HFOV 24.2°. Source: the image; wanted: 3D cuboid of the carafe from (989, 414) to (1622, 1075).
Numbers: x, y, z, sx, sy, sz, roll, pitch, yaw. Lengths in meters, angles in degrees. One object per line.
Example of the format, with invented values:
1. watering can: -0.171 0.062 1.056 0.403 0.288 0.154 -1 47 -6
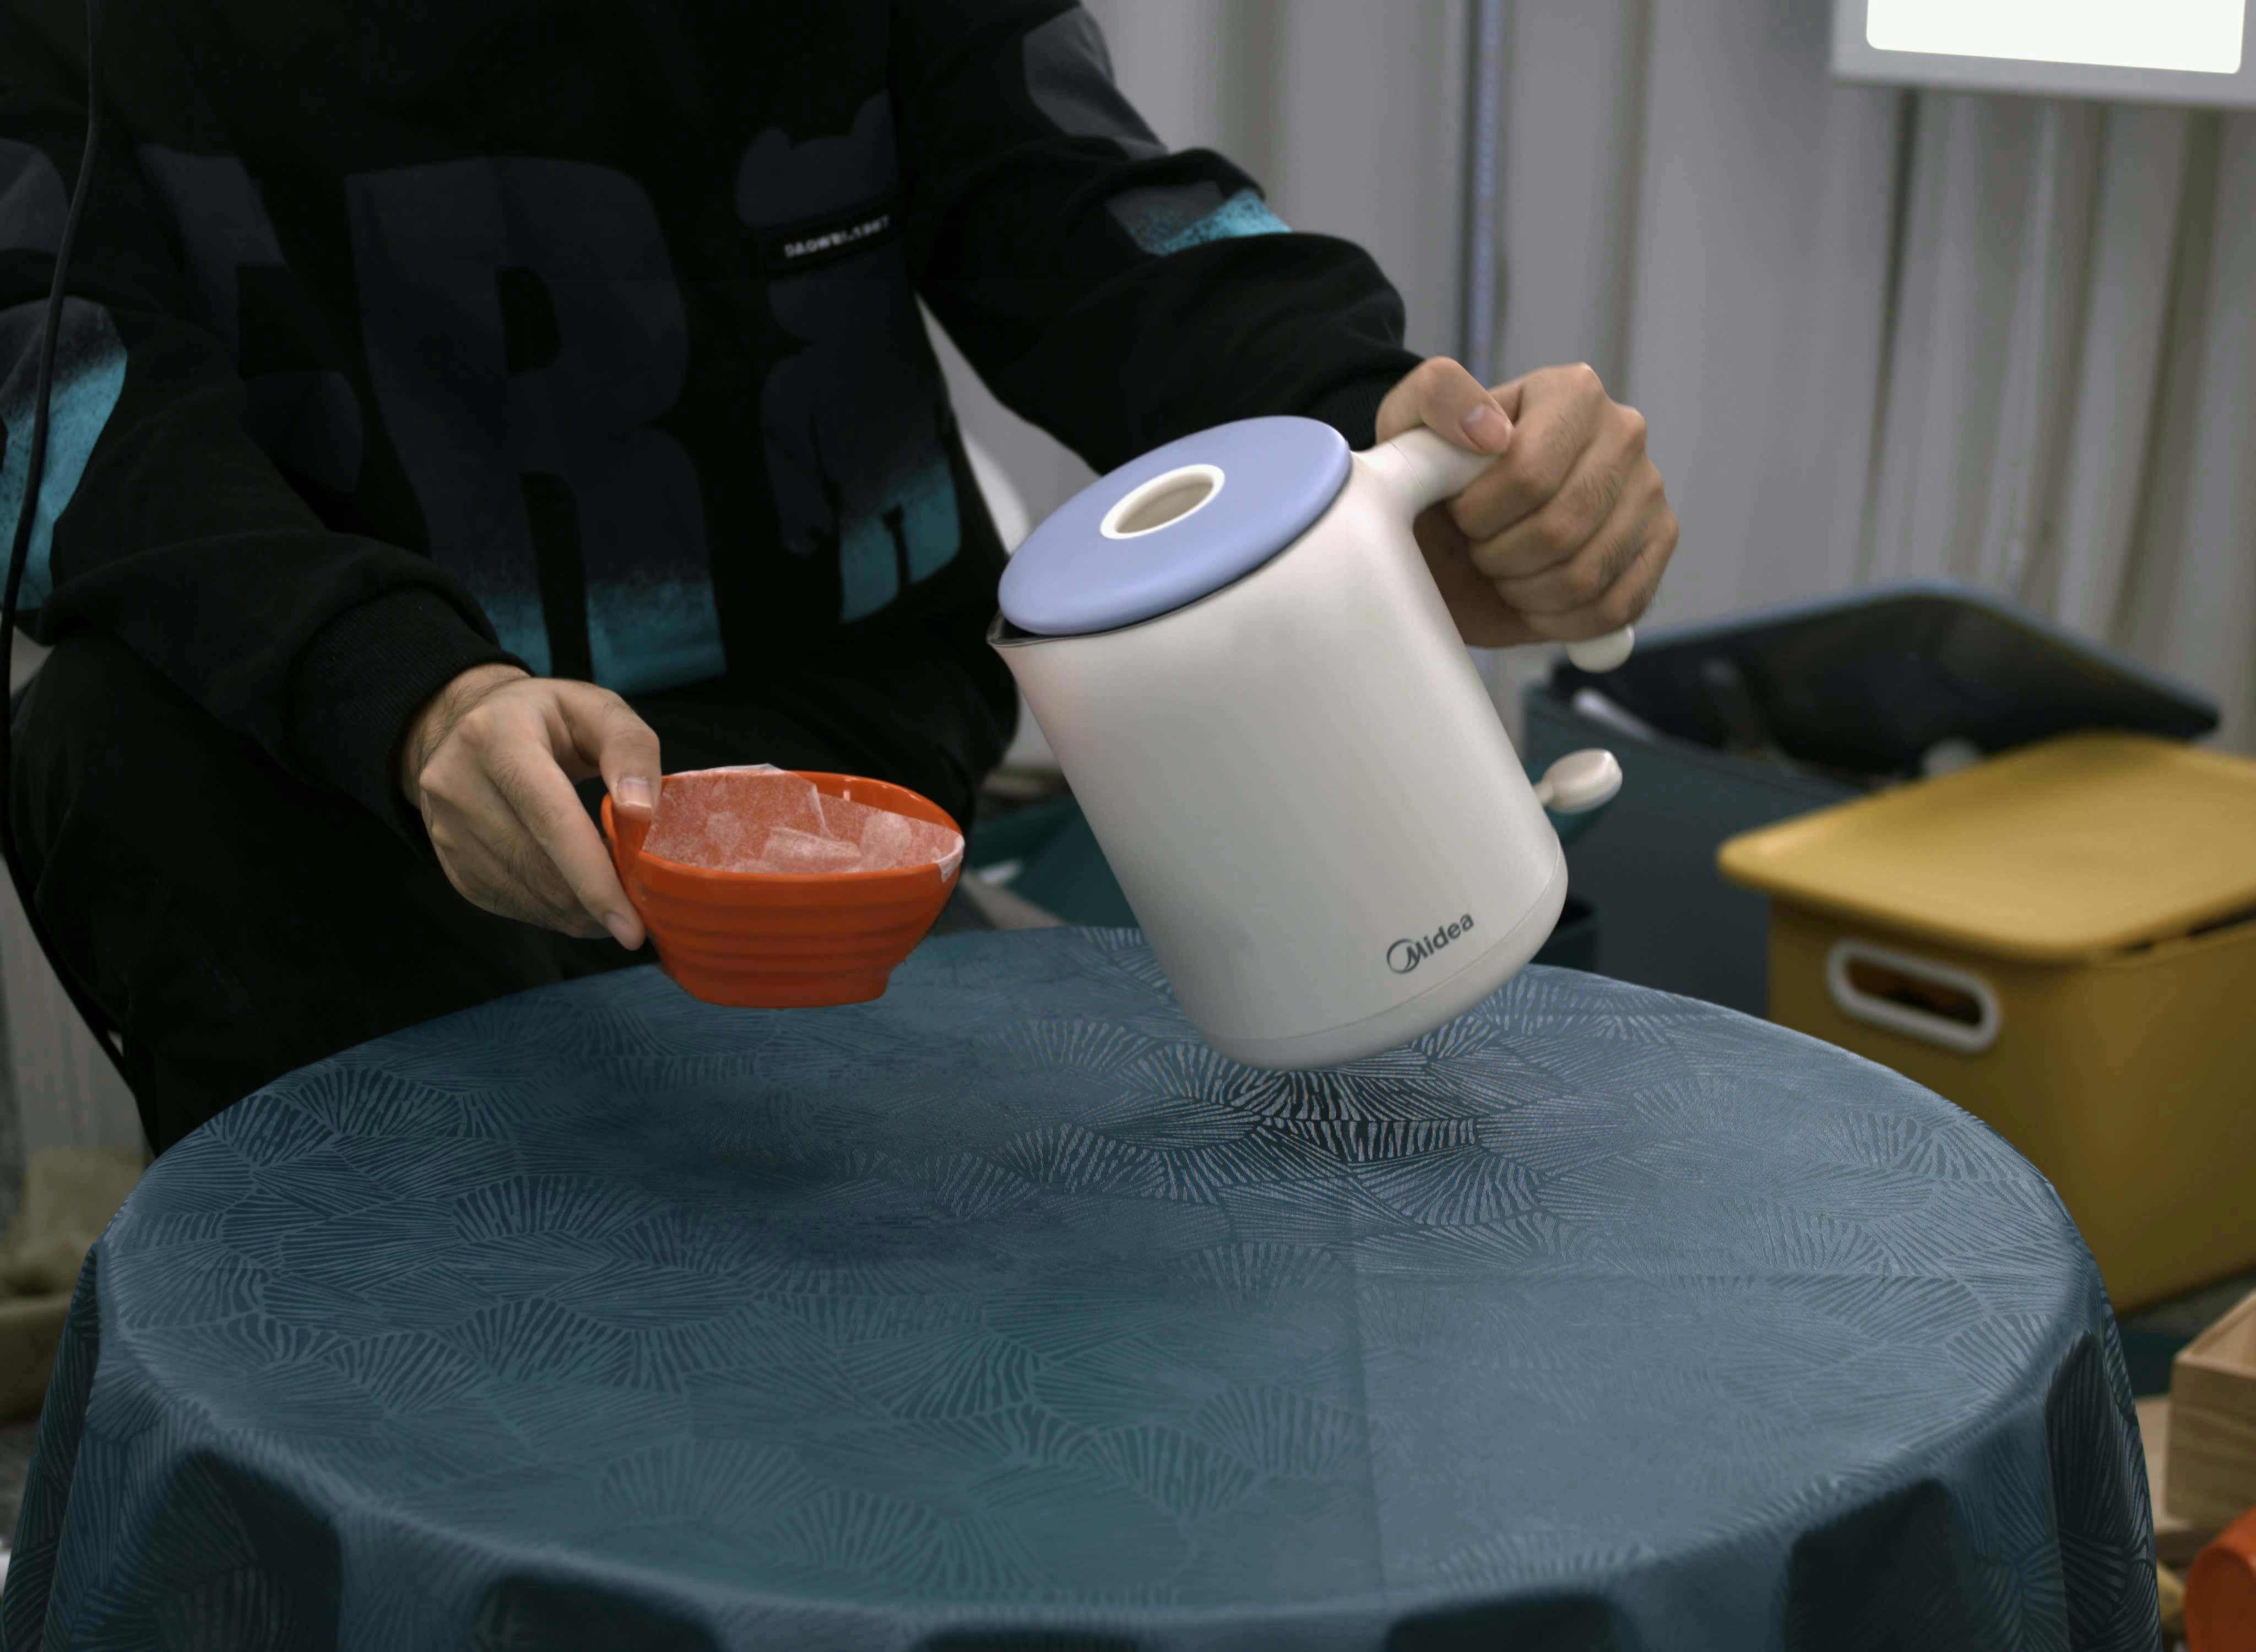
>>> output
1. carafe: 0.068 -0.037 1.651 0.191 0.184 0.130 -29 25 -13

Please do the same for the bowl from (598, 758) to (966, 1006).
1. bowl: -0.107 0.020 1.619 0.118 0.052 0.118 3 19 -1
